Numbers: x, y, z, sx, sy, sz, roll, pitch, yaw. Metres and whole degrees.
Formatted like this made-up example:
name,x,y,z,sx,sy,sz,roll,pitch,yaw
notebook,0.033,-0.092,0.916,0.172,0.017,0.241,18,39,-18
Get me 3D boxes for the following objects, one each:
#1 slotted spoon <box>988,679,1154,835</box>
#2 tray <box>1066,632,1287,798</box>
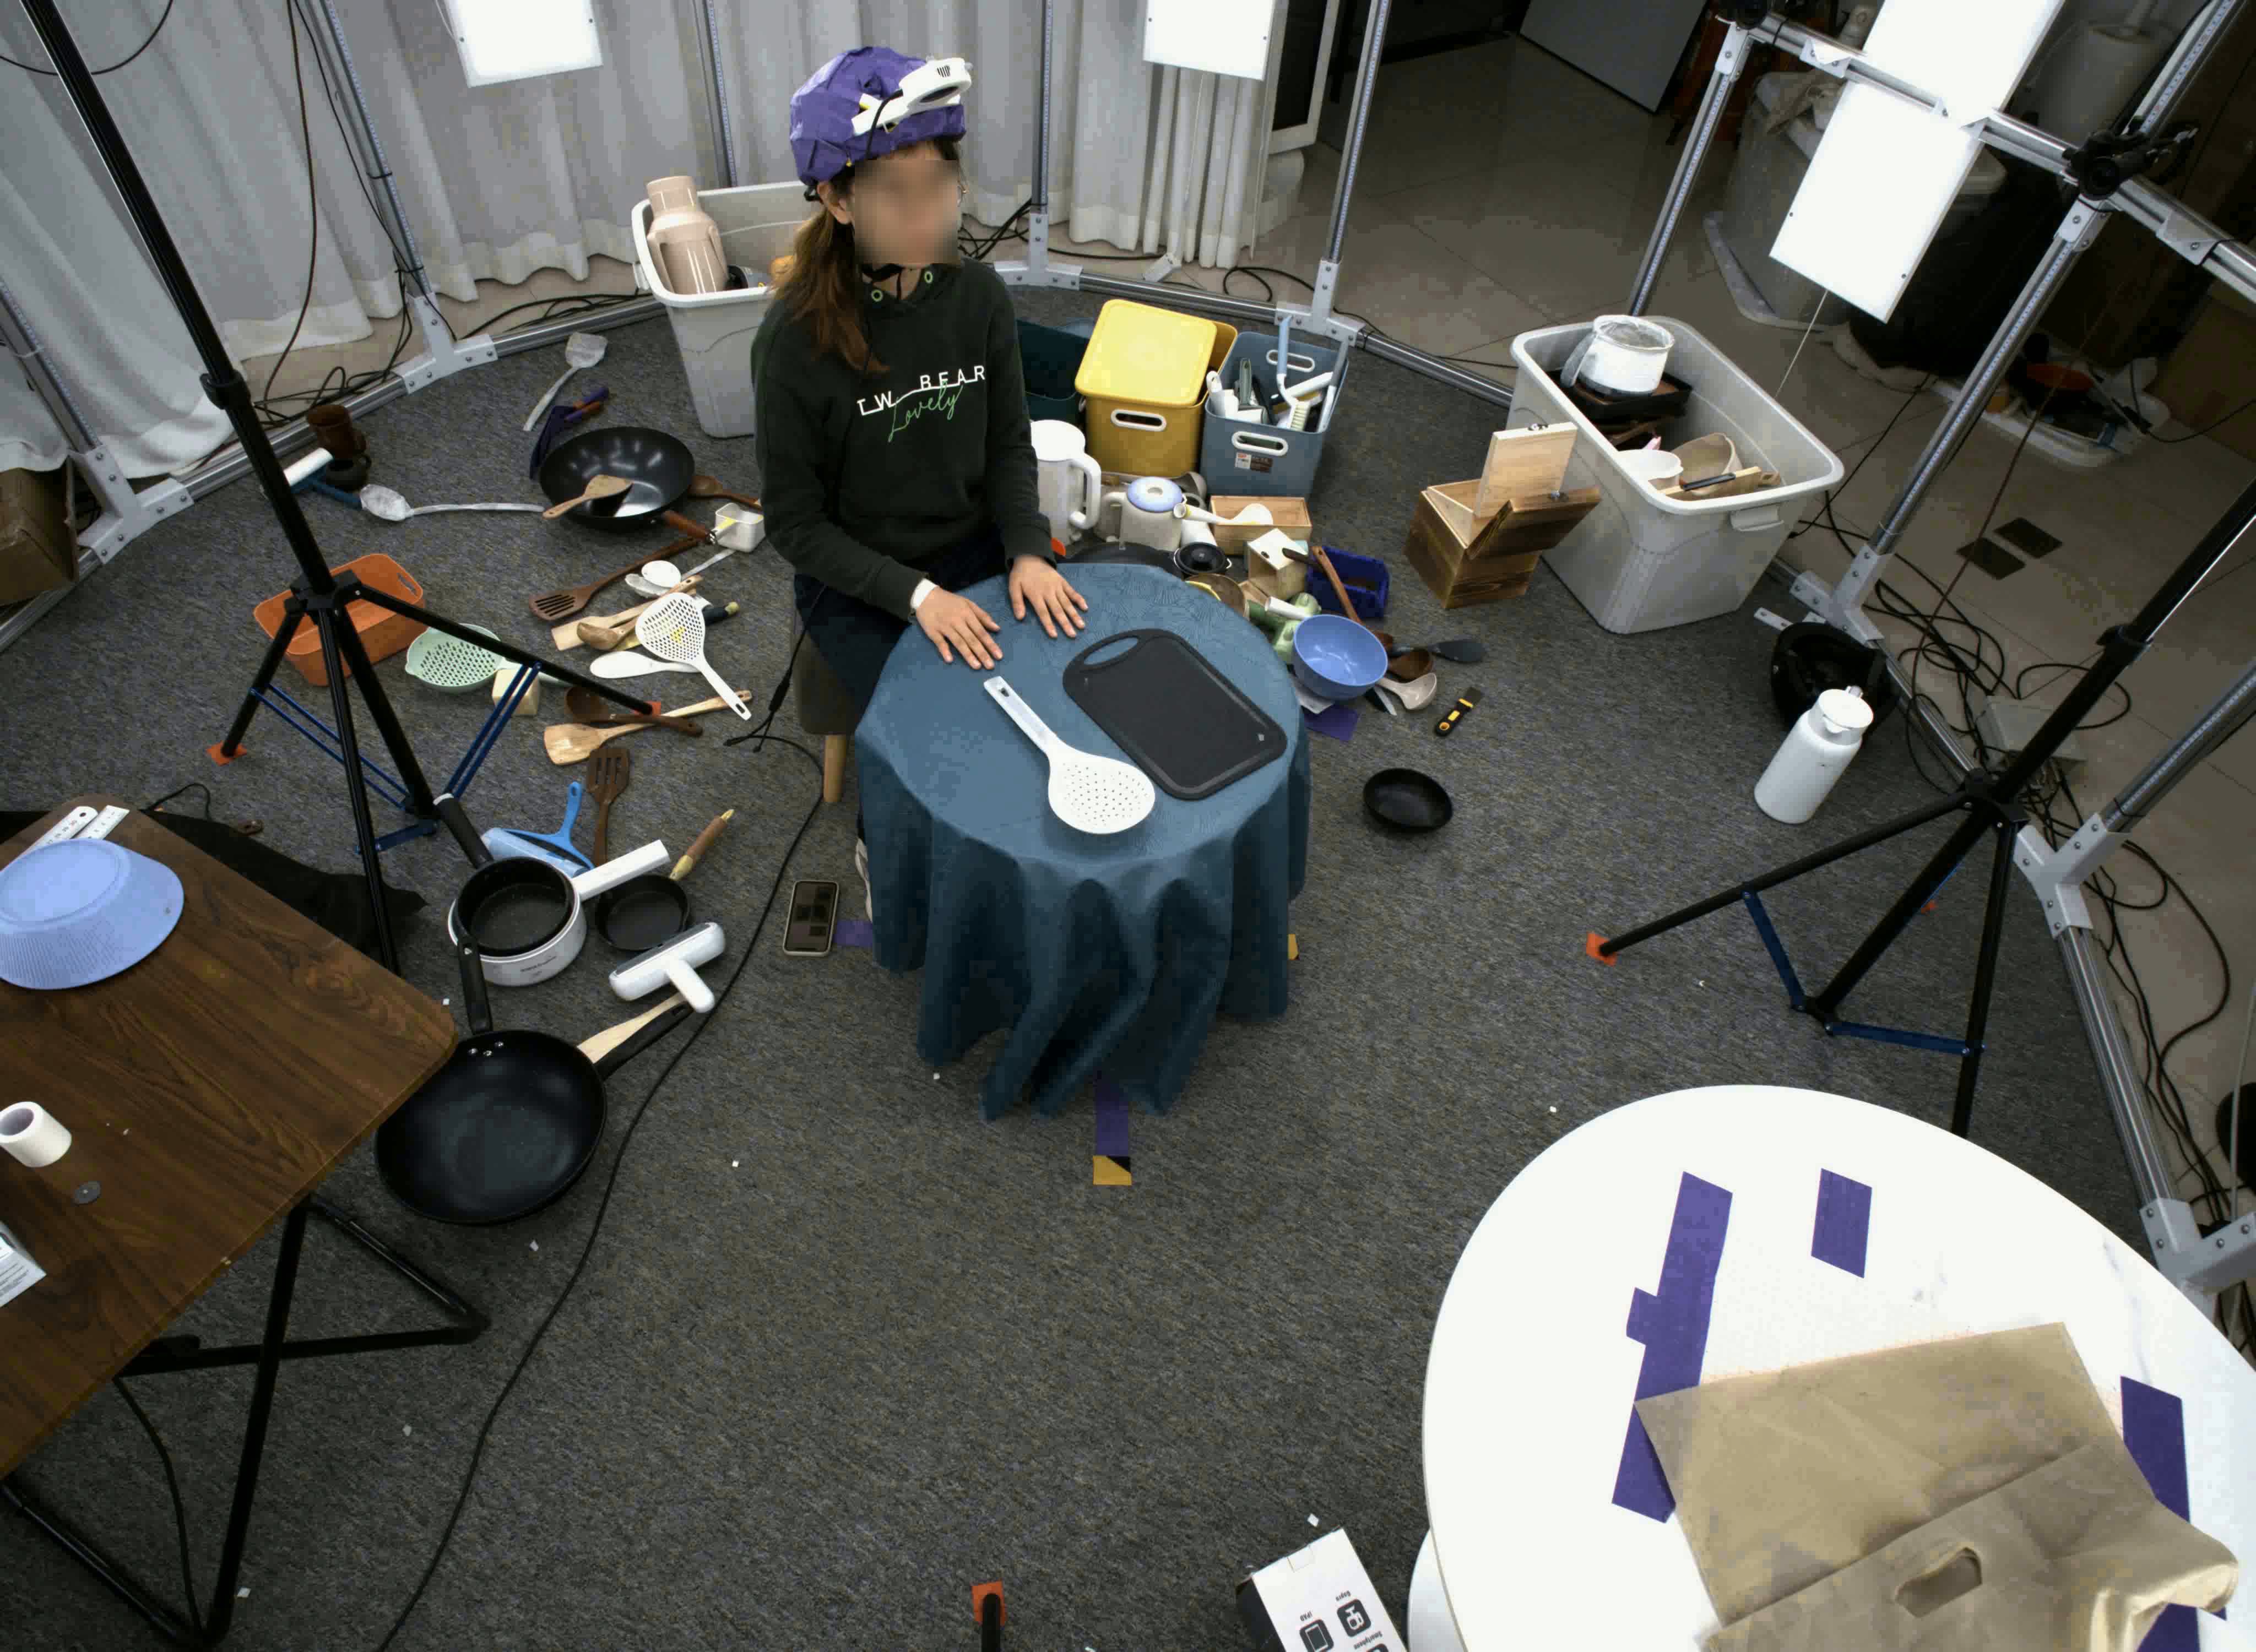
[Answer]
name,x,y,z,sx,sy,sz,roll,pitch,yaw
slotted spoon,-0.094,-0.099,1.734,0.136,0.044,0.357,-23,53,-25
tray,0.061,-0.171,1.832,0.212,0.009,0.331,-27,55,-25
